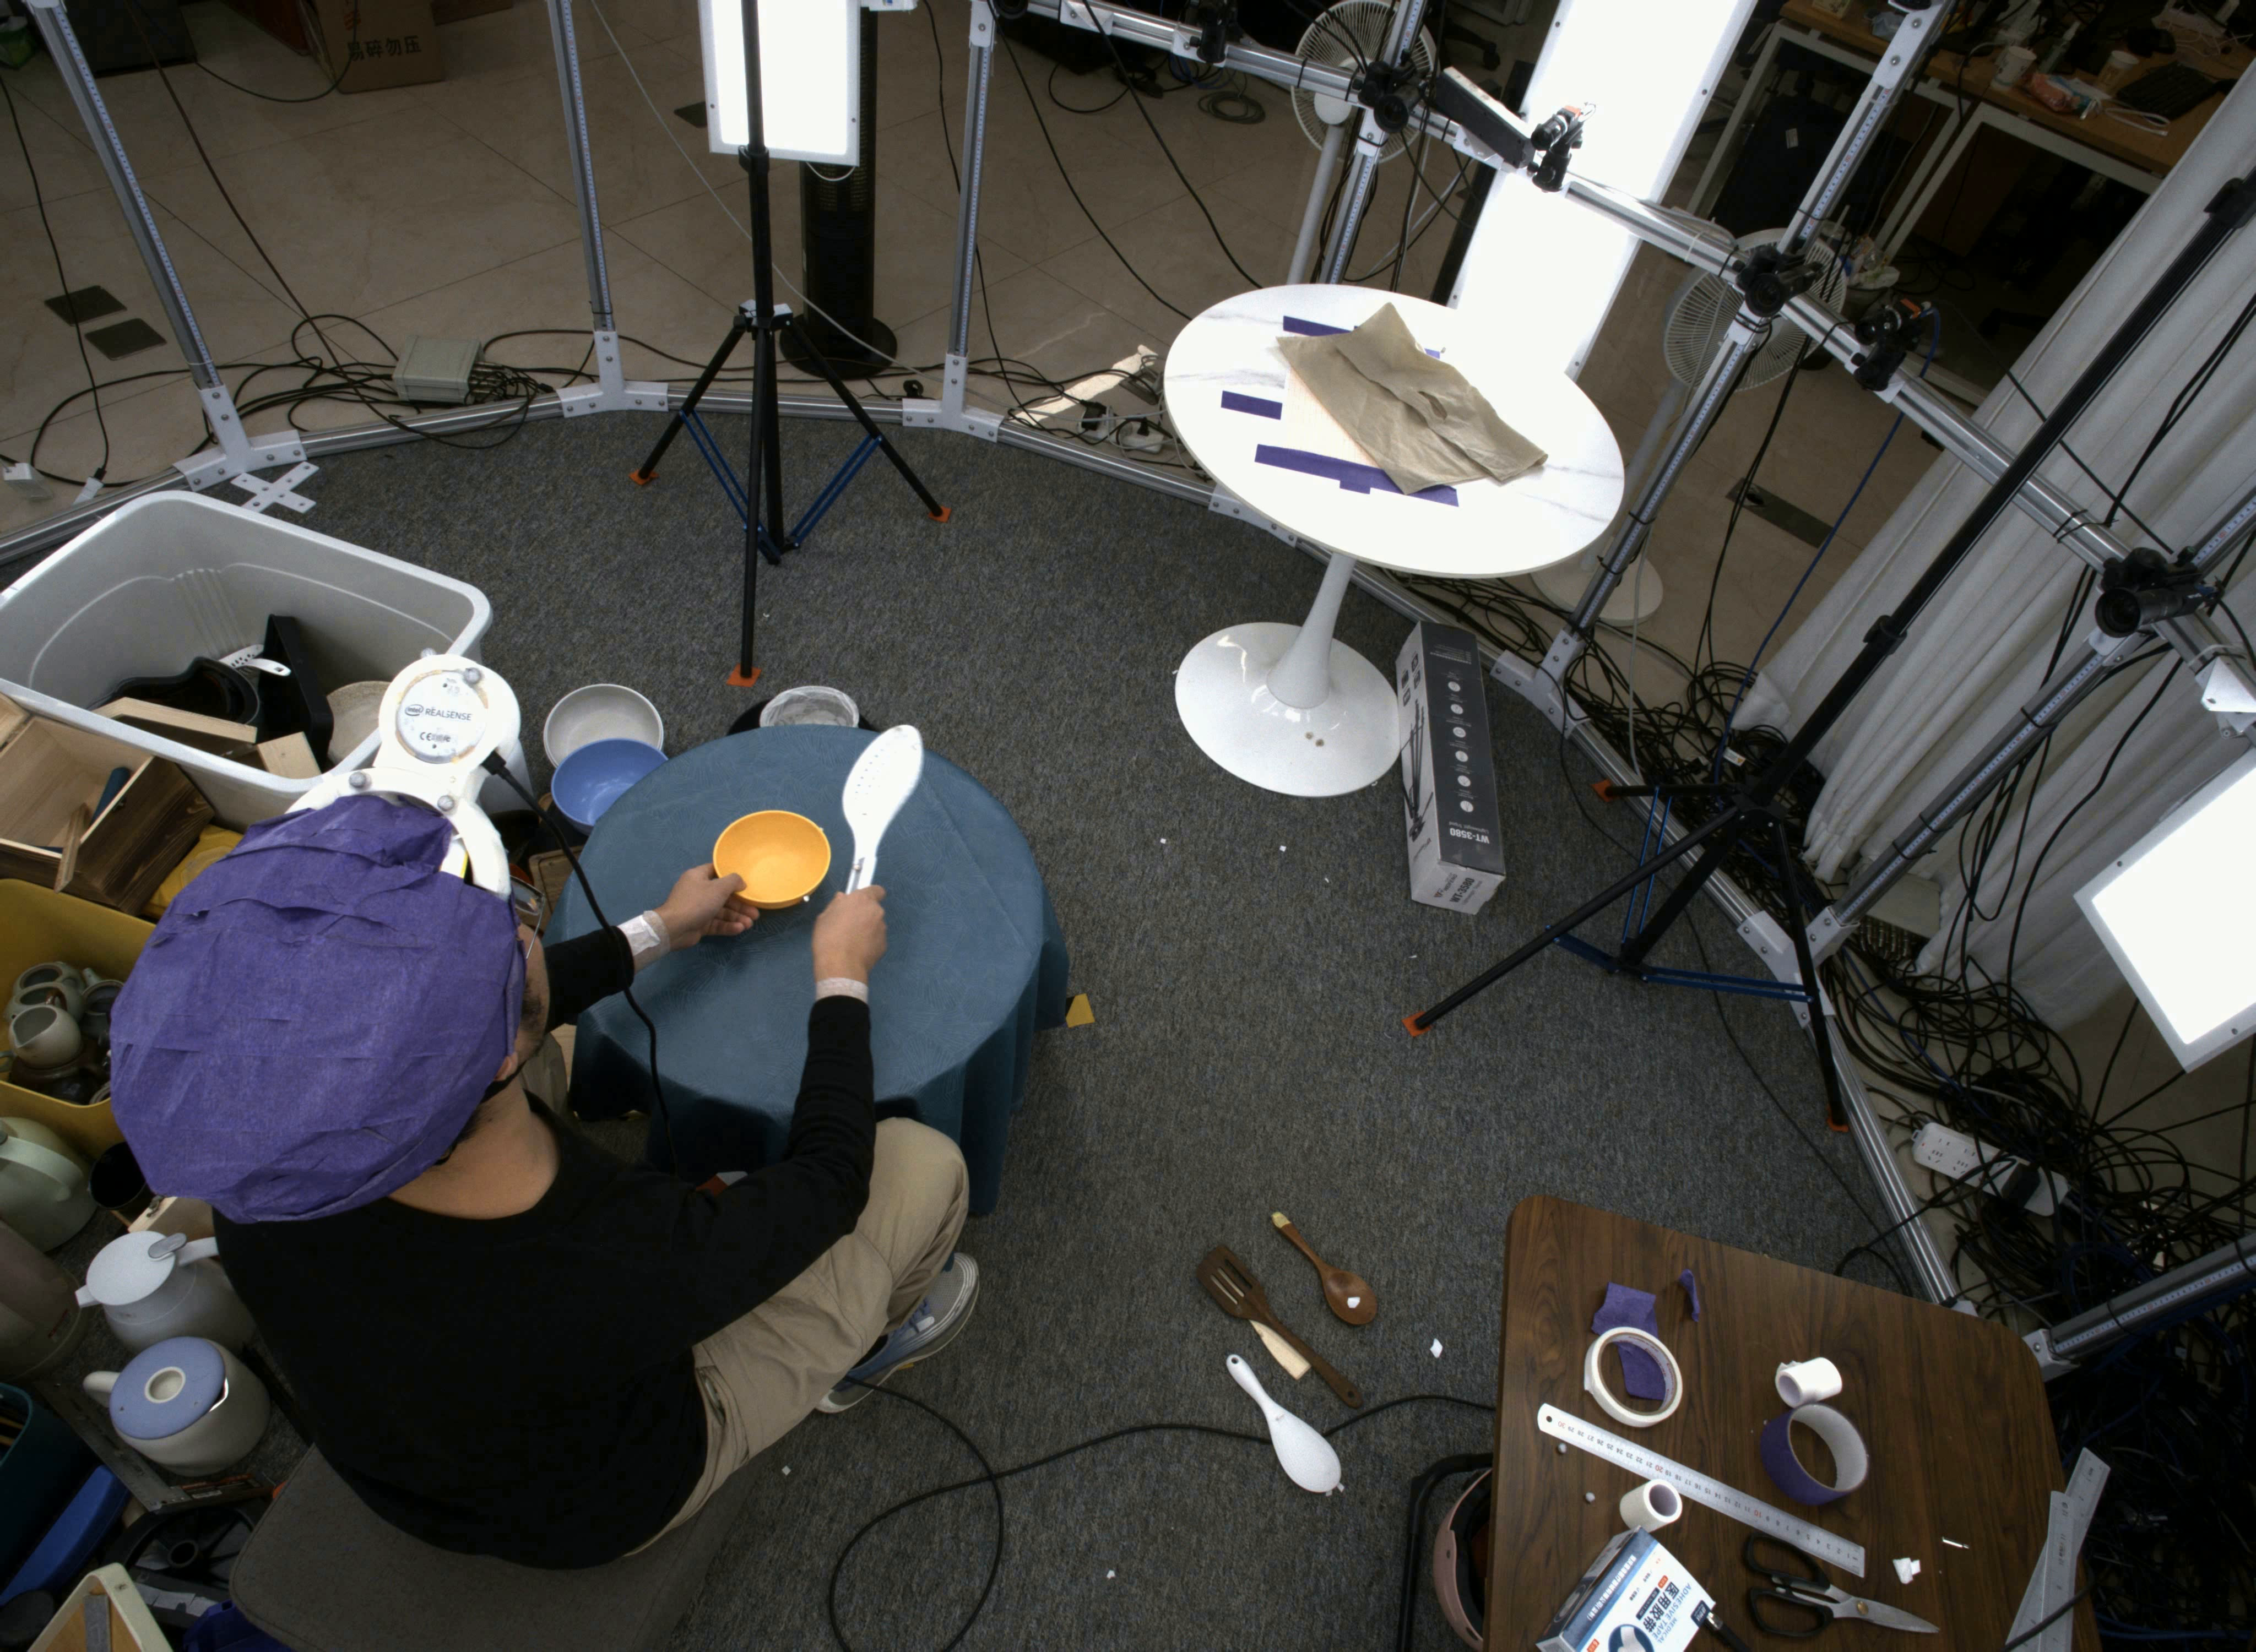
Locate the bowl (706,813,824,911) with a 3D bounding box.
[{"bbox_3d":[-0.455,0.055,1.632,0.145,0.061,0.142,7,50,-7],"label":"bowl"}]

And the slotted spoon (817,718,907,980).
[{"bbox_3d":[-0.321,0.020,1.530,0.047,0.133,0.344,39,44,-35],"label":"slotted spoon"}]
